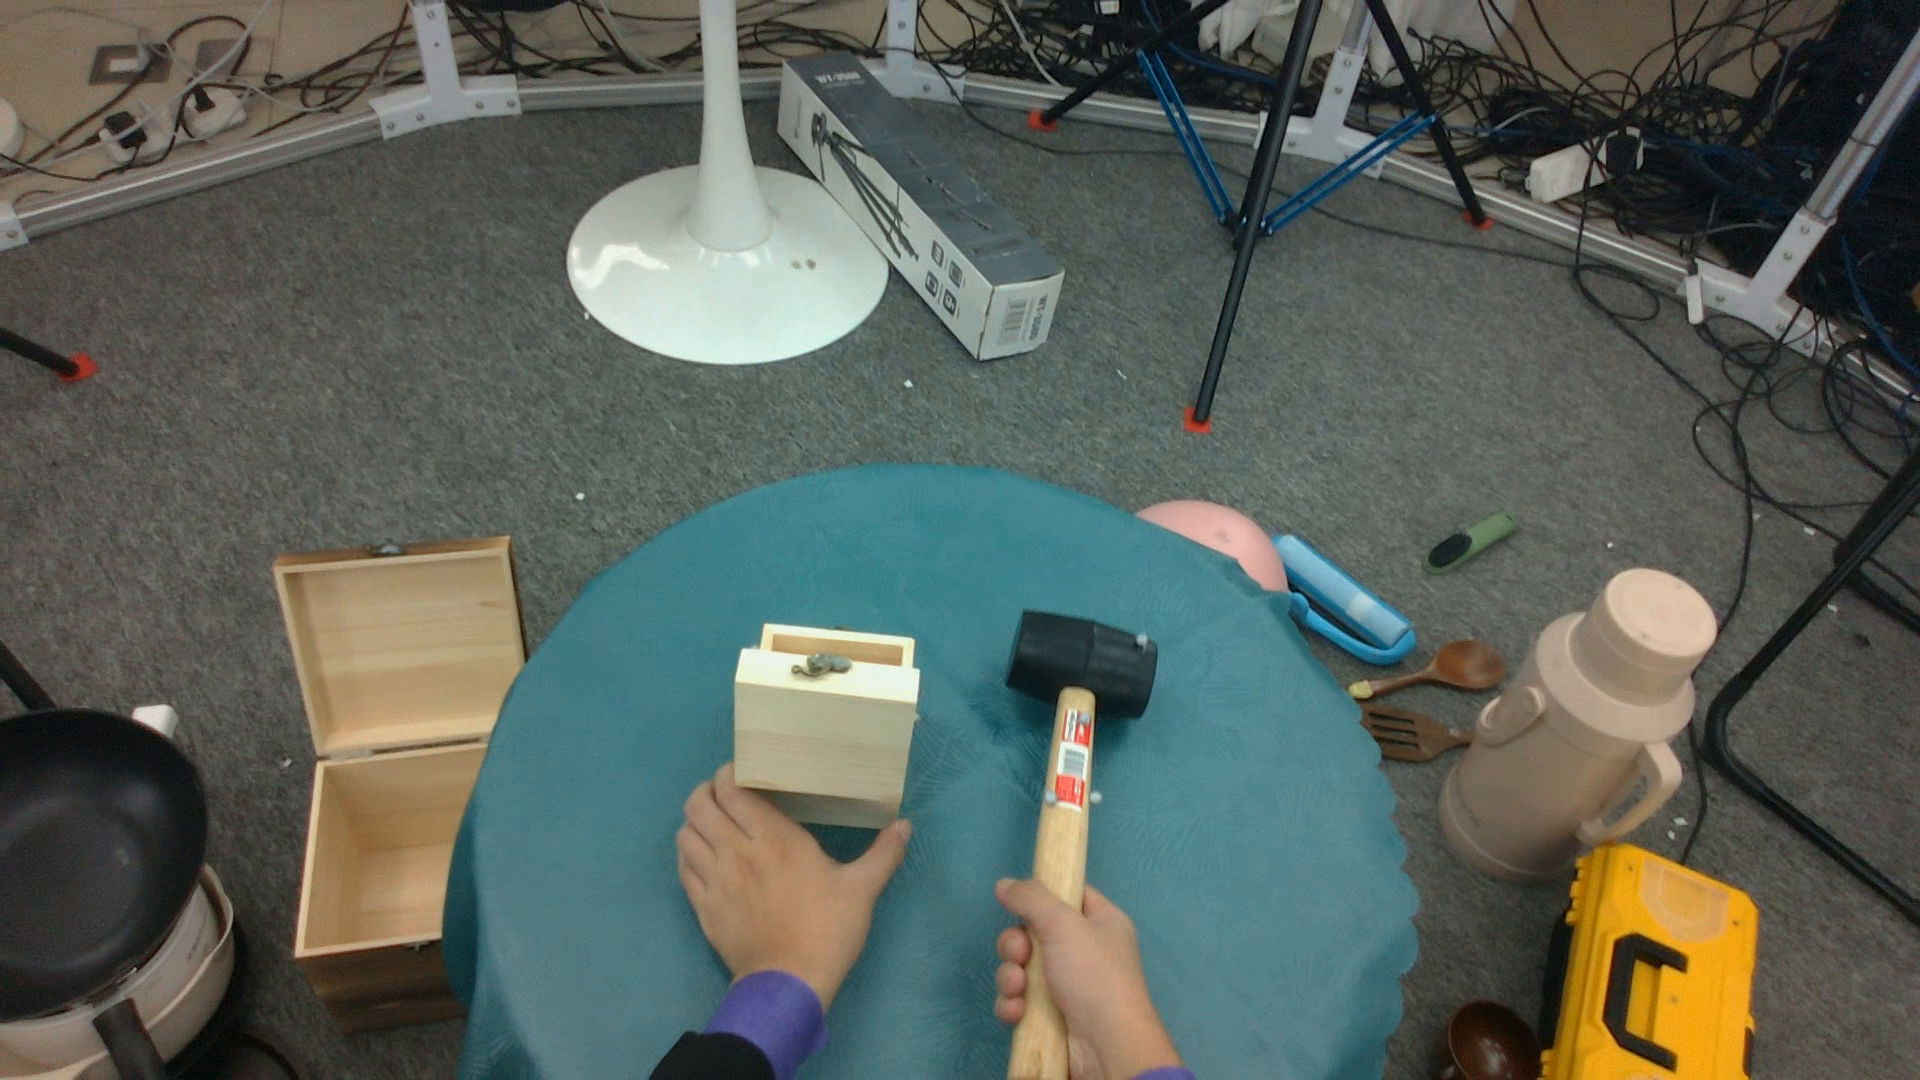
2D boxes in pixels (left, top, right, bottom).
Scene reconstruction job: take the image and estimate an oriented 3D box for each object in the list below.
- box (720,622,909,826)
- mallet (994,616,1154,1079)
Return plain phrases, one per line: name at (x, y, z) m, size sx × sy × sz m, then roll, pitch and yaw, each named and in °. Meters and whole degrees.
box at (-0.085, 0.096, 0.858) m, size 0.102 × 0.183 × 0.134 m, roll 5°, pitch 51°, yaw -2°
mallet at (0.062, 0.174, 0.856) m, size 0.102 × 0.064 × 0.340 m, roll 11°, pitch 39°, yaw 2°
